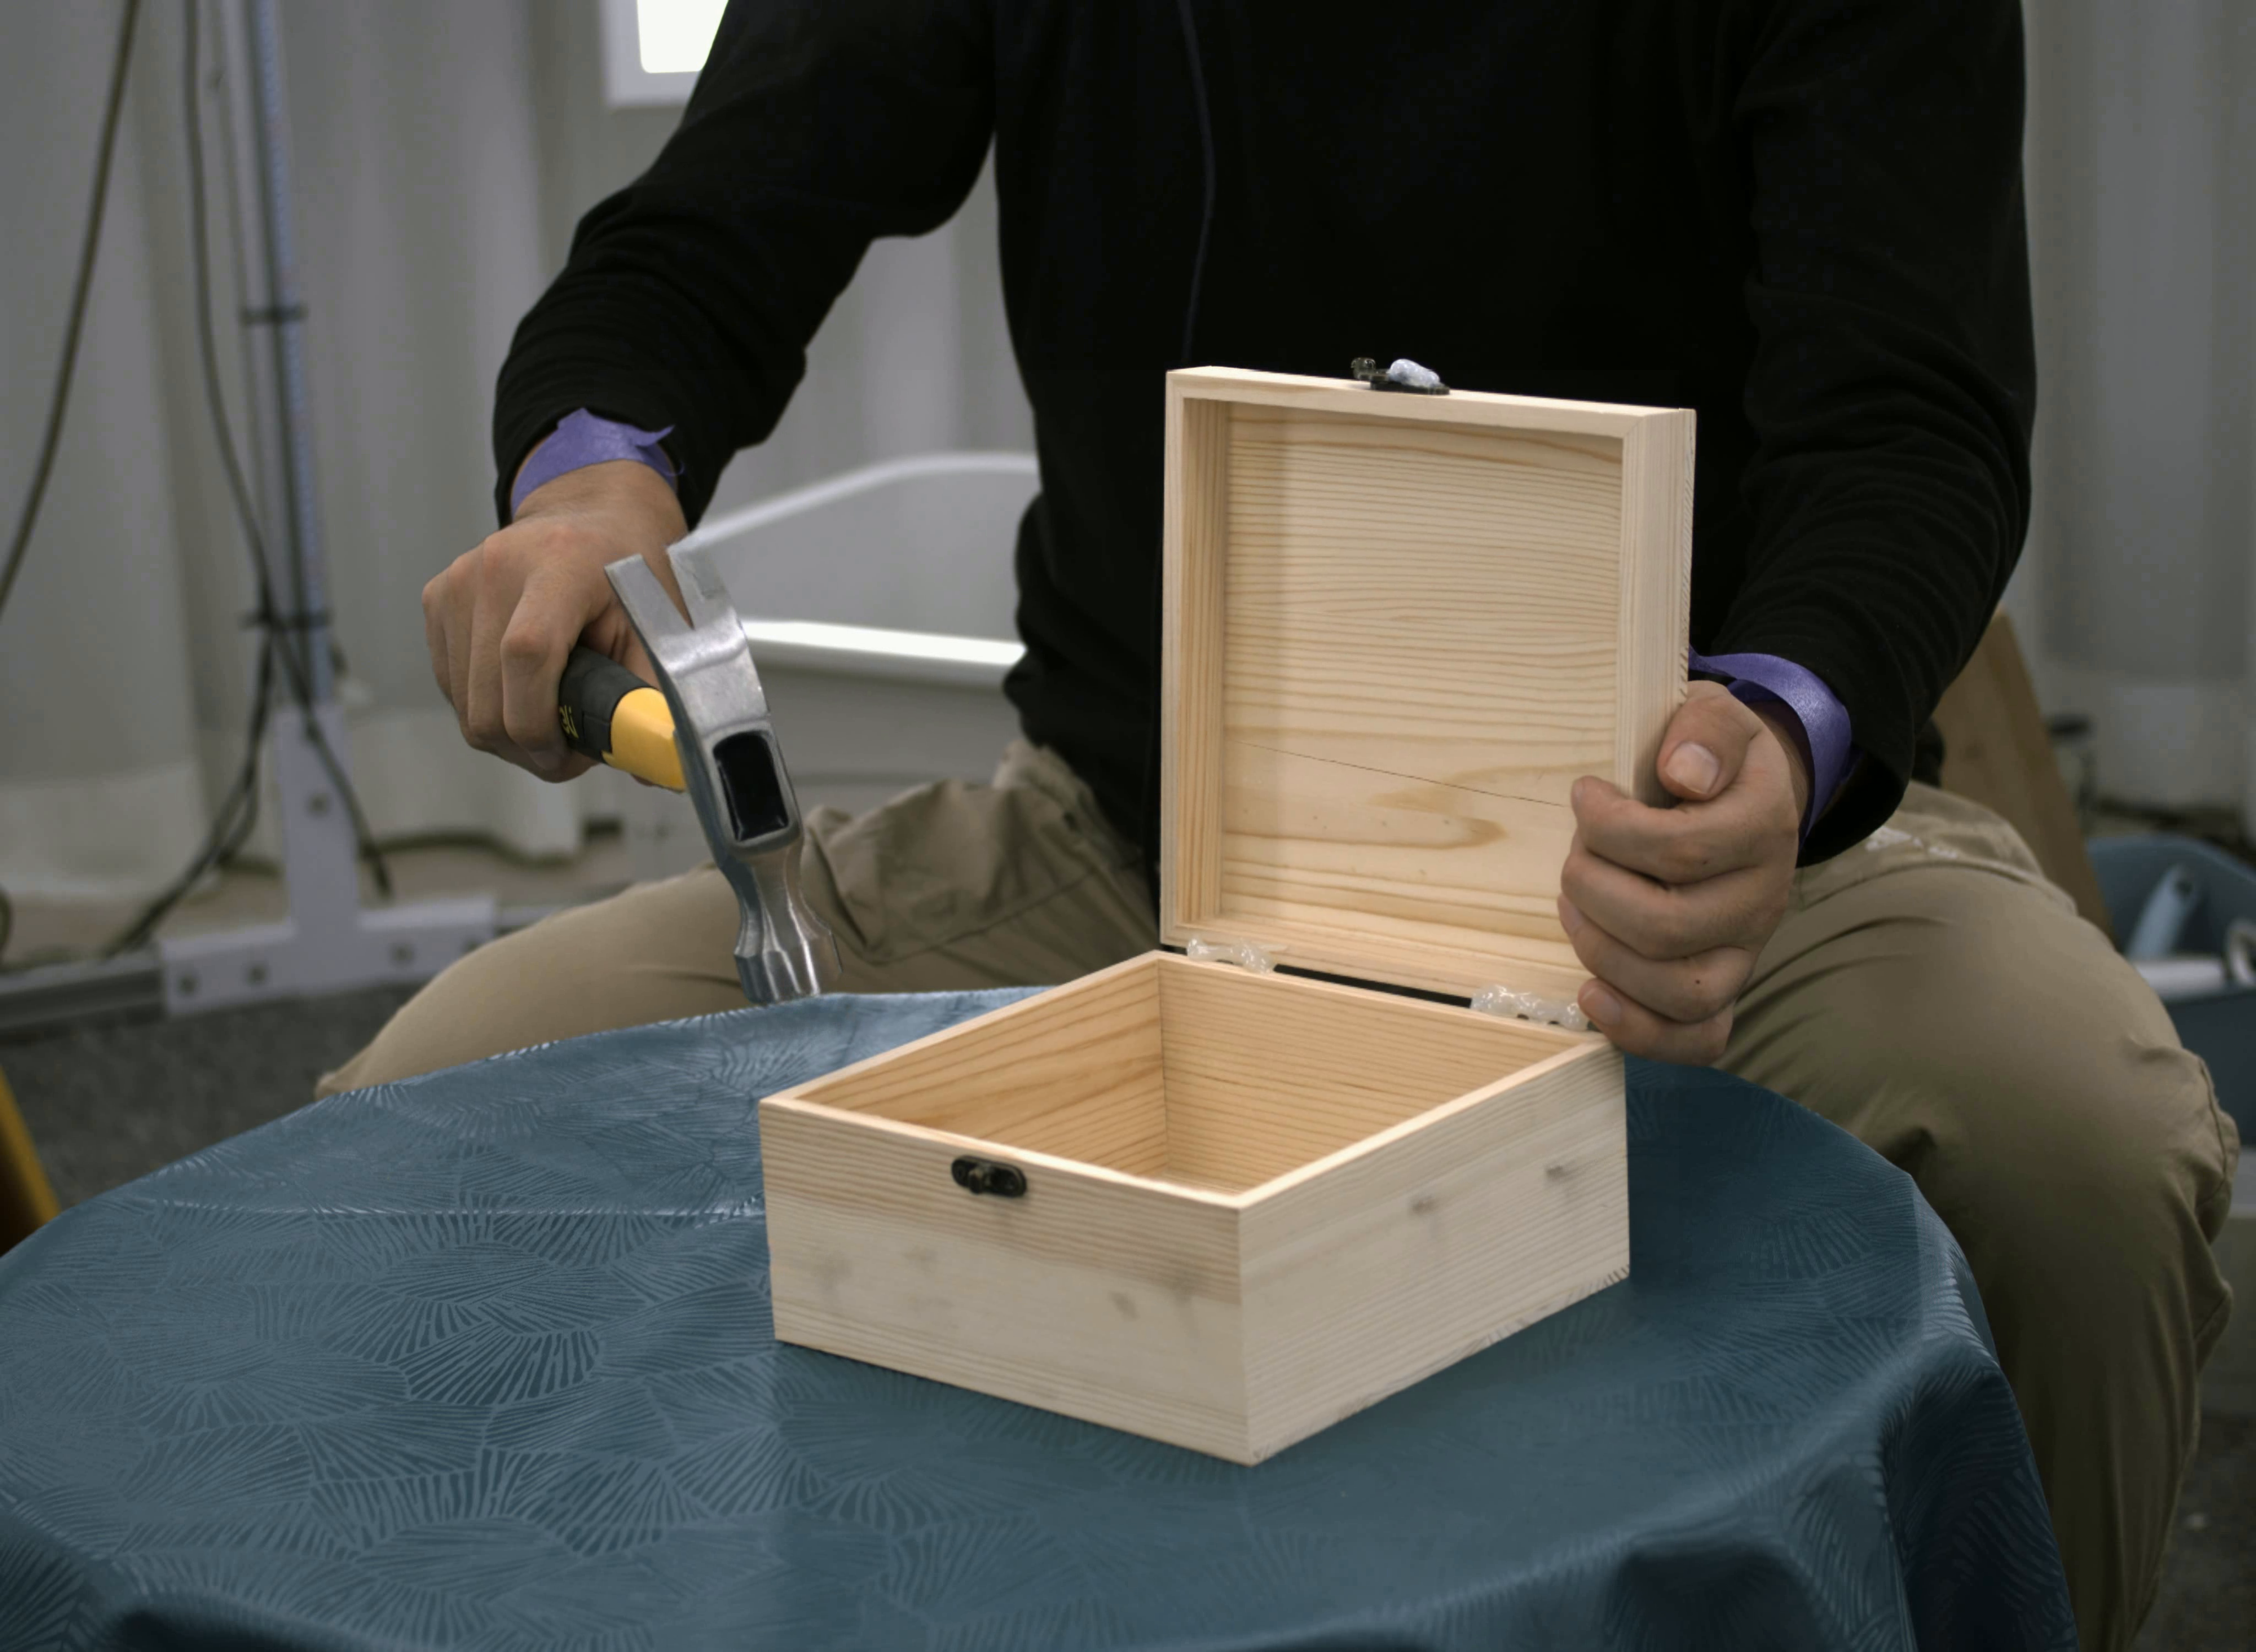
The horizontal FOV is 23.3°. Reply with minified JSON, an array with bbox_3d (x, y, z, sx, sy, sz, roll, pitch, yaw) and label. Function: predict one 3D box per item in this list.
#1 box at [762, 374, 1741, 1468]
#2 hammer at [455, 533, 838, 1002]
[{"bbox_3d":[0.038,0.015,1.600,0.182,0.252,0.265,6,17,40],"label":"box"},{"bbox_3d":[-0.162,-0.033,1.731,0.032,0.131,0.340,-16,11,-17],"label":"hammer"}]
